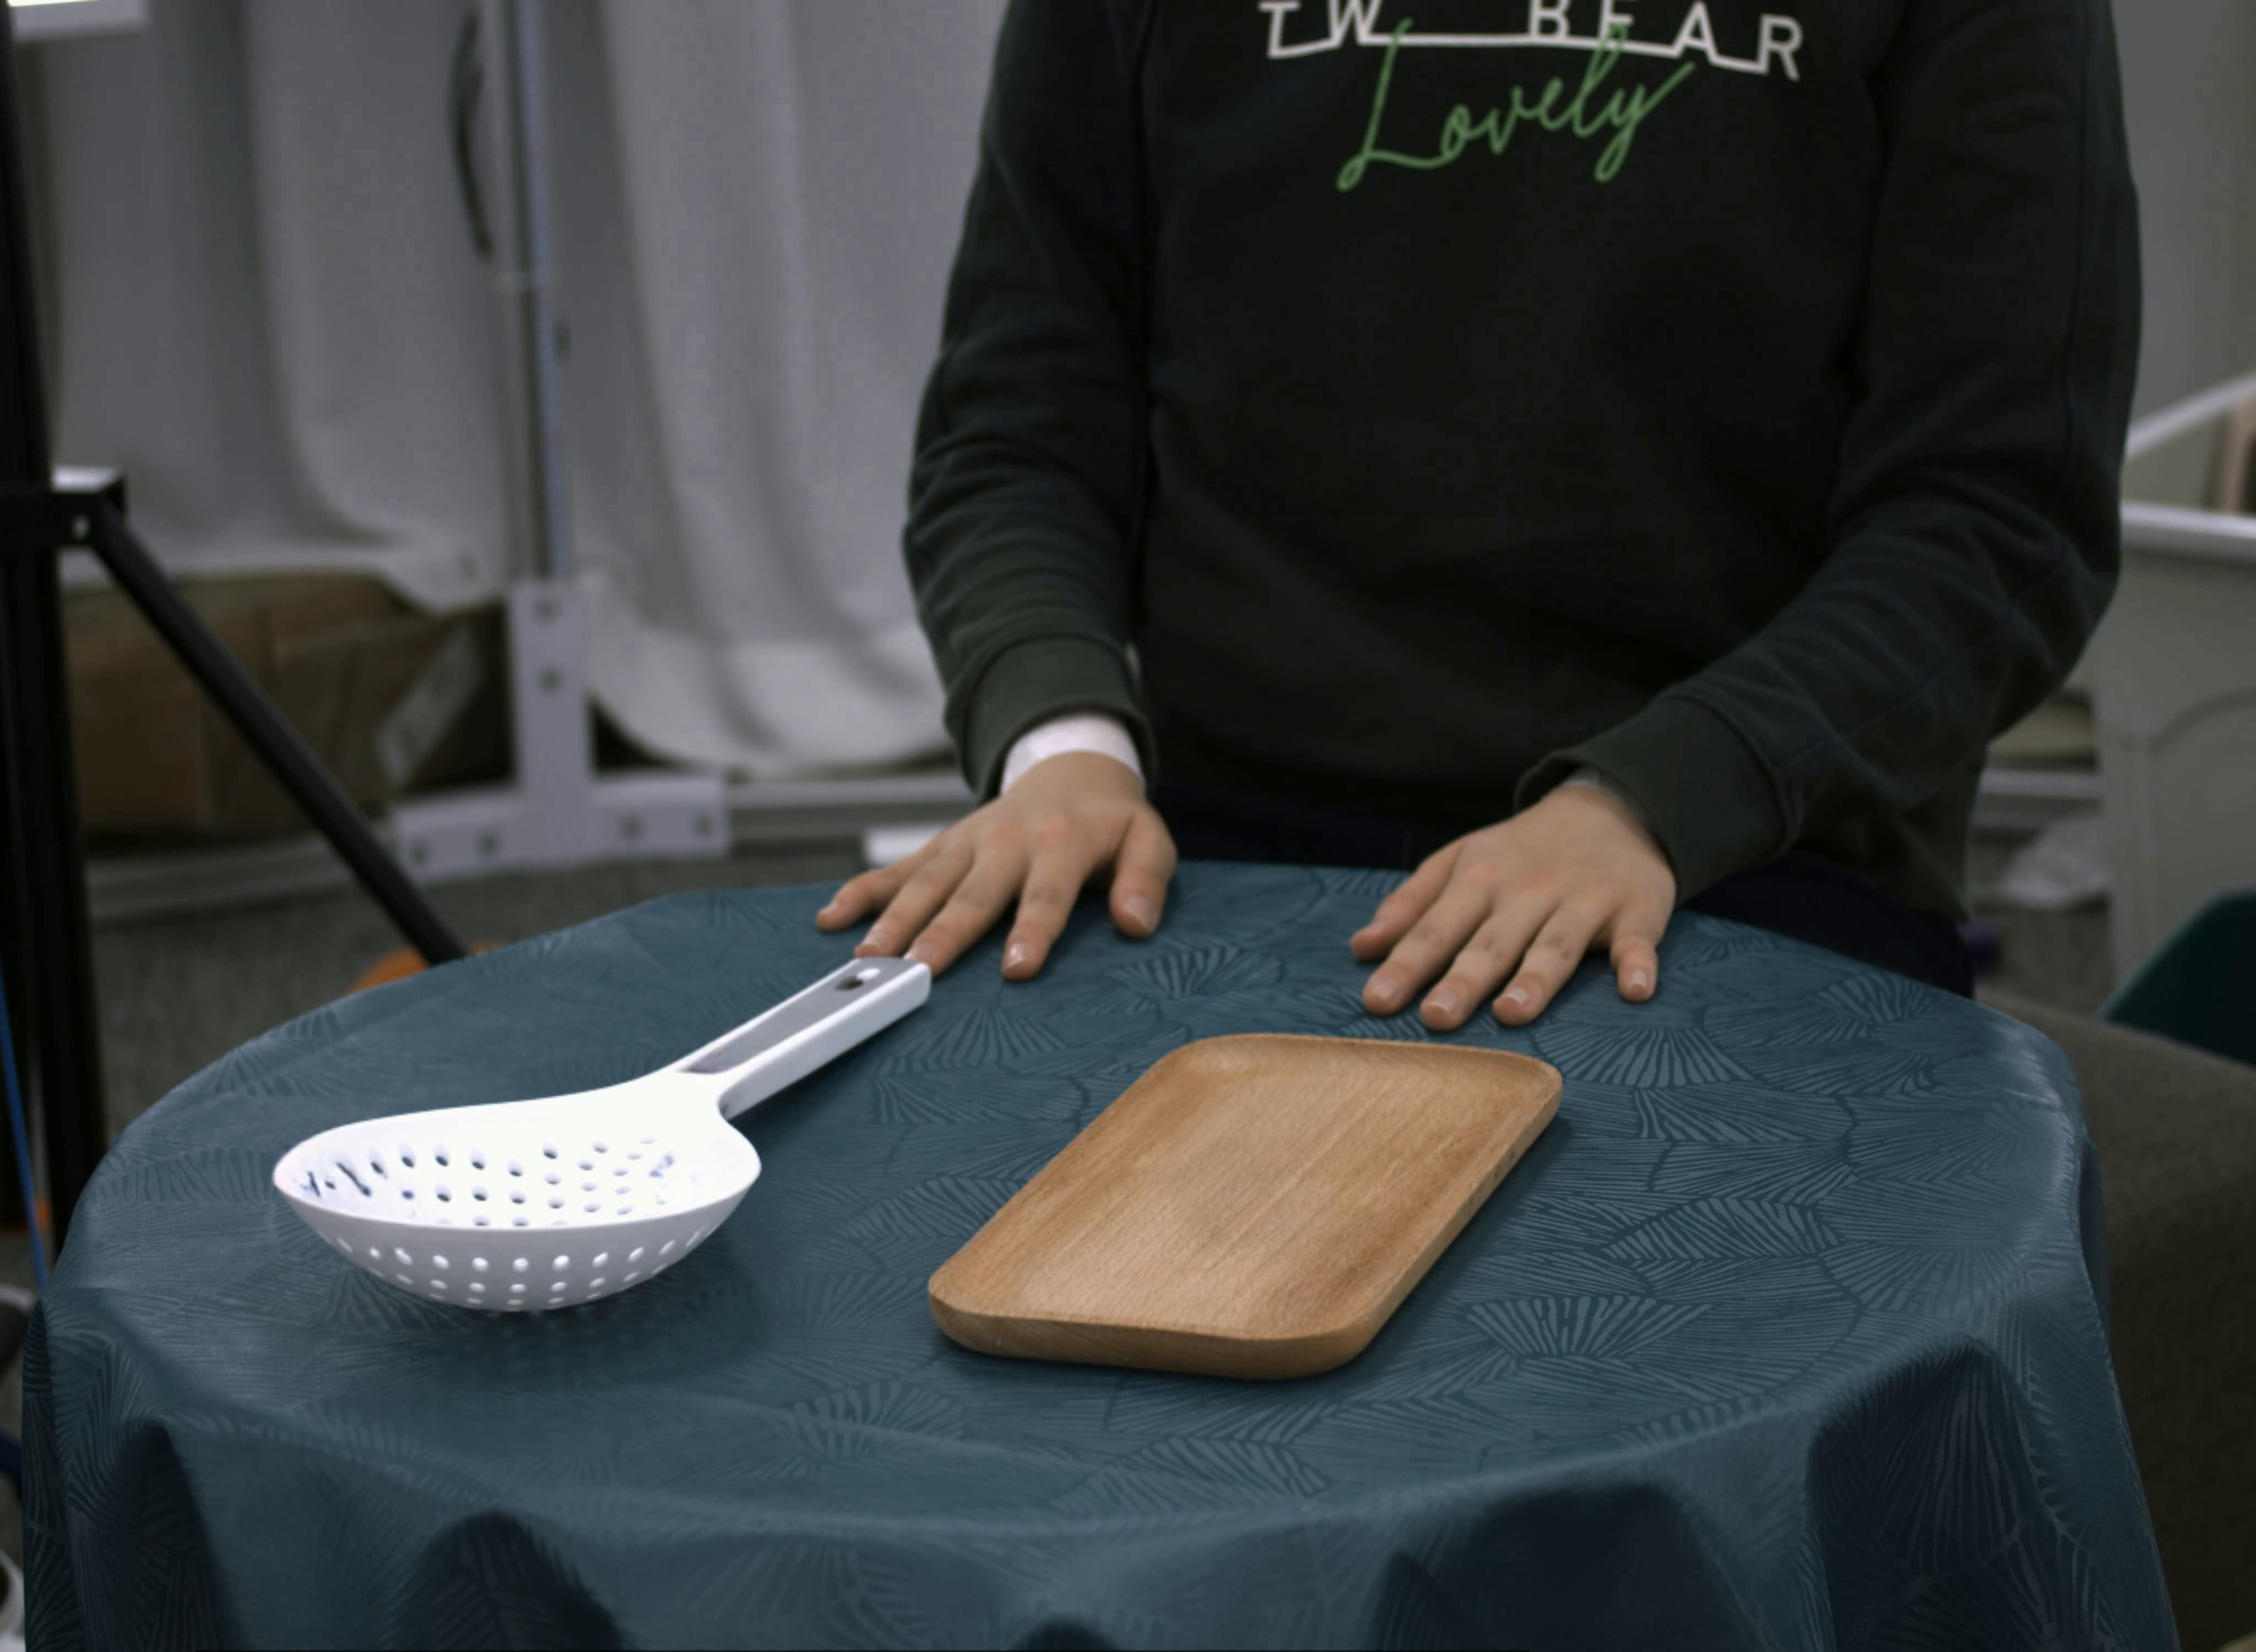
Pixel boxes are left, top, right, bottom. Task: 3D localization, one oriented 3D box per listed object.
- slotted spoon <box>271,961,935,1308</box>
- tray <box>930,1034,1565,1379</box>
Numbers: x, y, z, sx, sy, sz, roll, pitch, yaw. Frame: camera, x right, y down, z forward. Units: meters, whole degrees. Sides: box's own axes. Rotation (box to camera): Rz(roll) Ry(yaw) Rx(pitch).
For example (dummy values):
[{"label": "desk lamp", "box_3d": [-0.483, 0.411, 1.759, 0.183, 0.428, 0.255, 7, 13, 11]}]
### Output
[{"label": "slotted spoon", "box_3d": [-0.134, 0.082, 1.588, 0.137, 0.046, 0.345, 6, 17, 20]}, {"label": "tray", "box_3d": [0.039, 0.106, 1.526, 0.132, 0.023, 0.247, 5, 17, 20]}]
